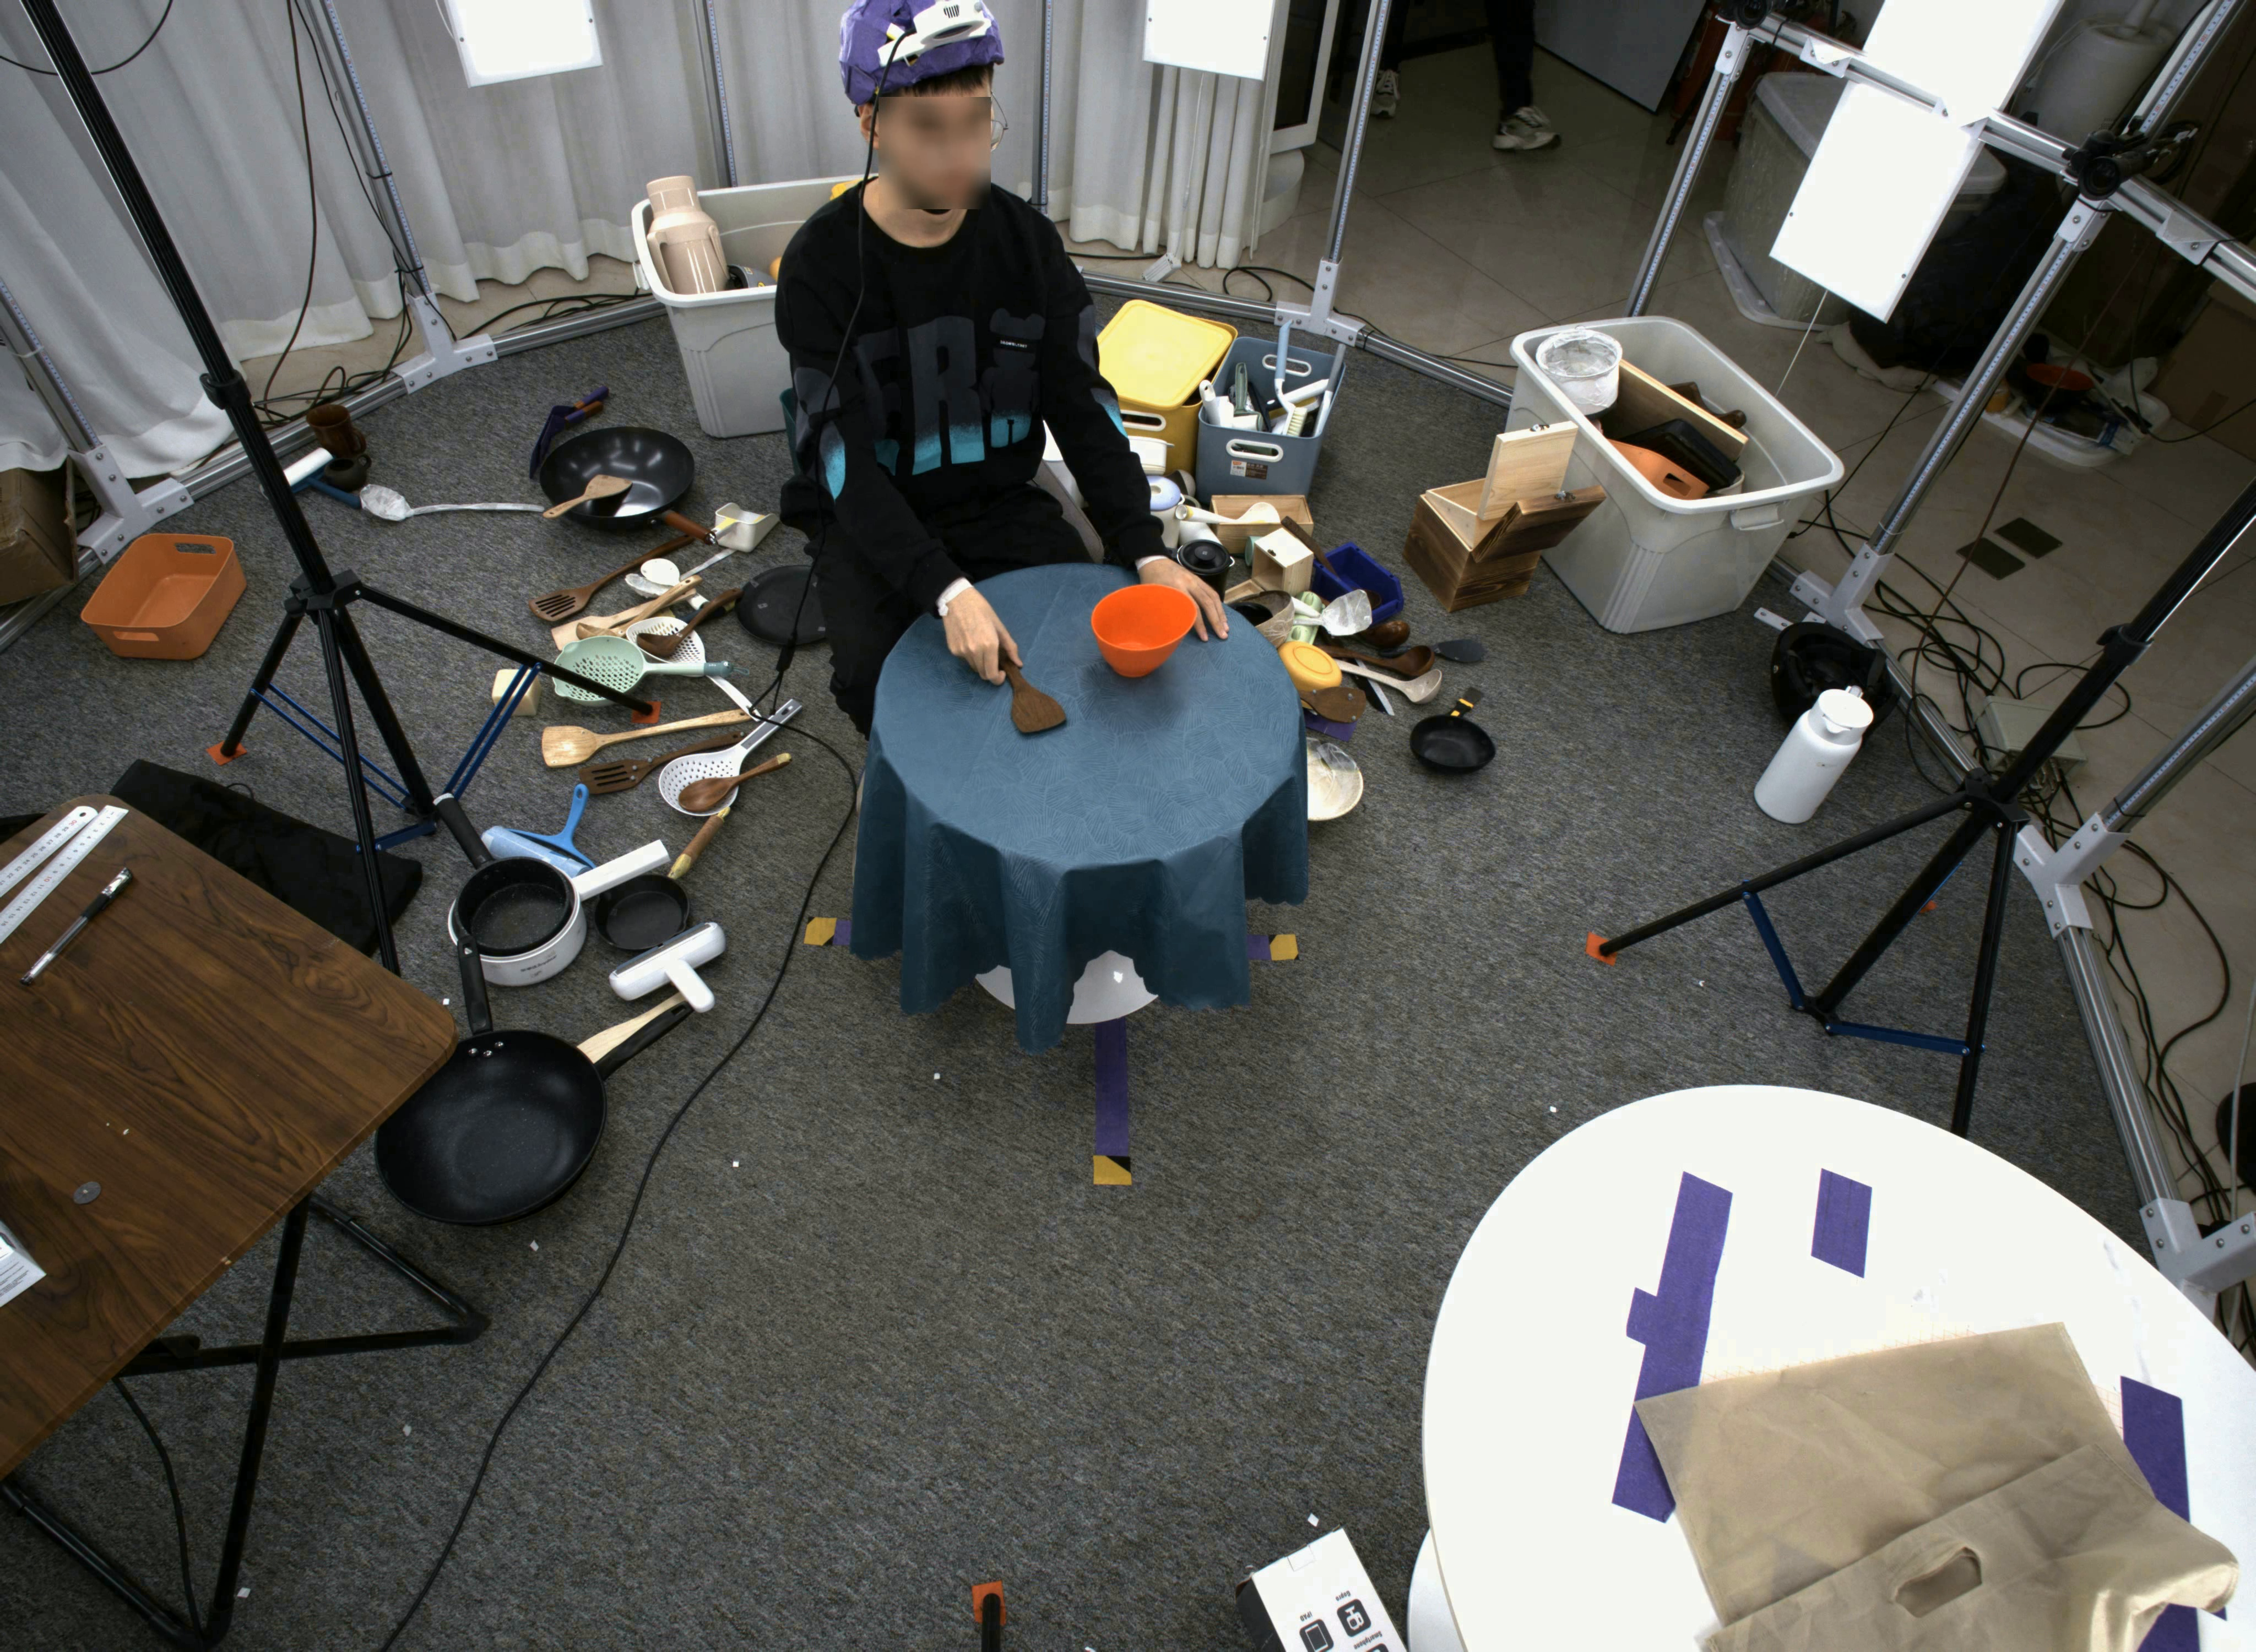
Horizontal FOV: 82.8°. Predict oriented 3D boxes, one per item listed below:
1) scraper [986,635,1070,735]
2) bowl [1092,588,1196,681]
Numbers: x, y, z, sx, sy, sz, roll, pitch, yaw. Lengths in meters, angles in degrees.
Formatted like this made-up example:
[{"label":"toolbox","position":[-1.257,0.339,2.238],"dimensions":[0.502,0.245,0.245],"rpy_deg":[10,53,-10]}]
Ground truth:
[{"label":"scraper","position":[-0.156,-0.206,1.848],"dimensions":[0.076,0.010,0.216],"rpy_deg":[-17,52,-19]},{"label":"bowl","position":[0.021,-0.267,1.854],"dimensions":[0.148,0.102,0.152],"rpy_deg":[1,49,-1]}]
